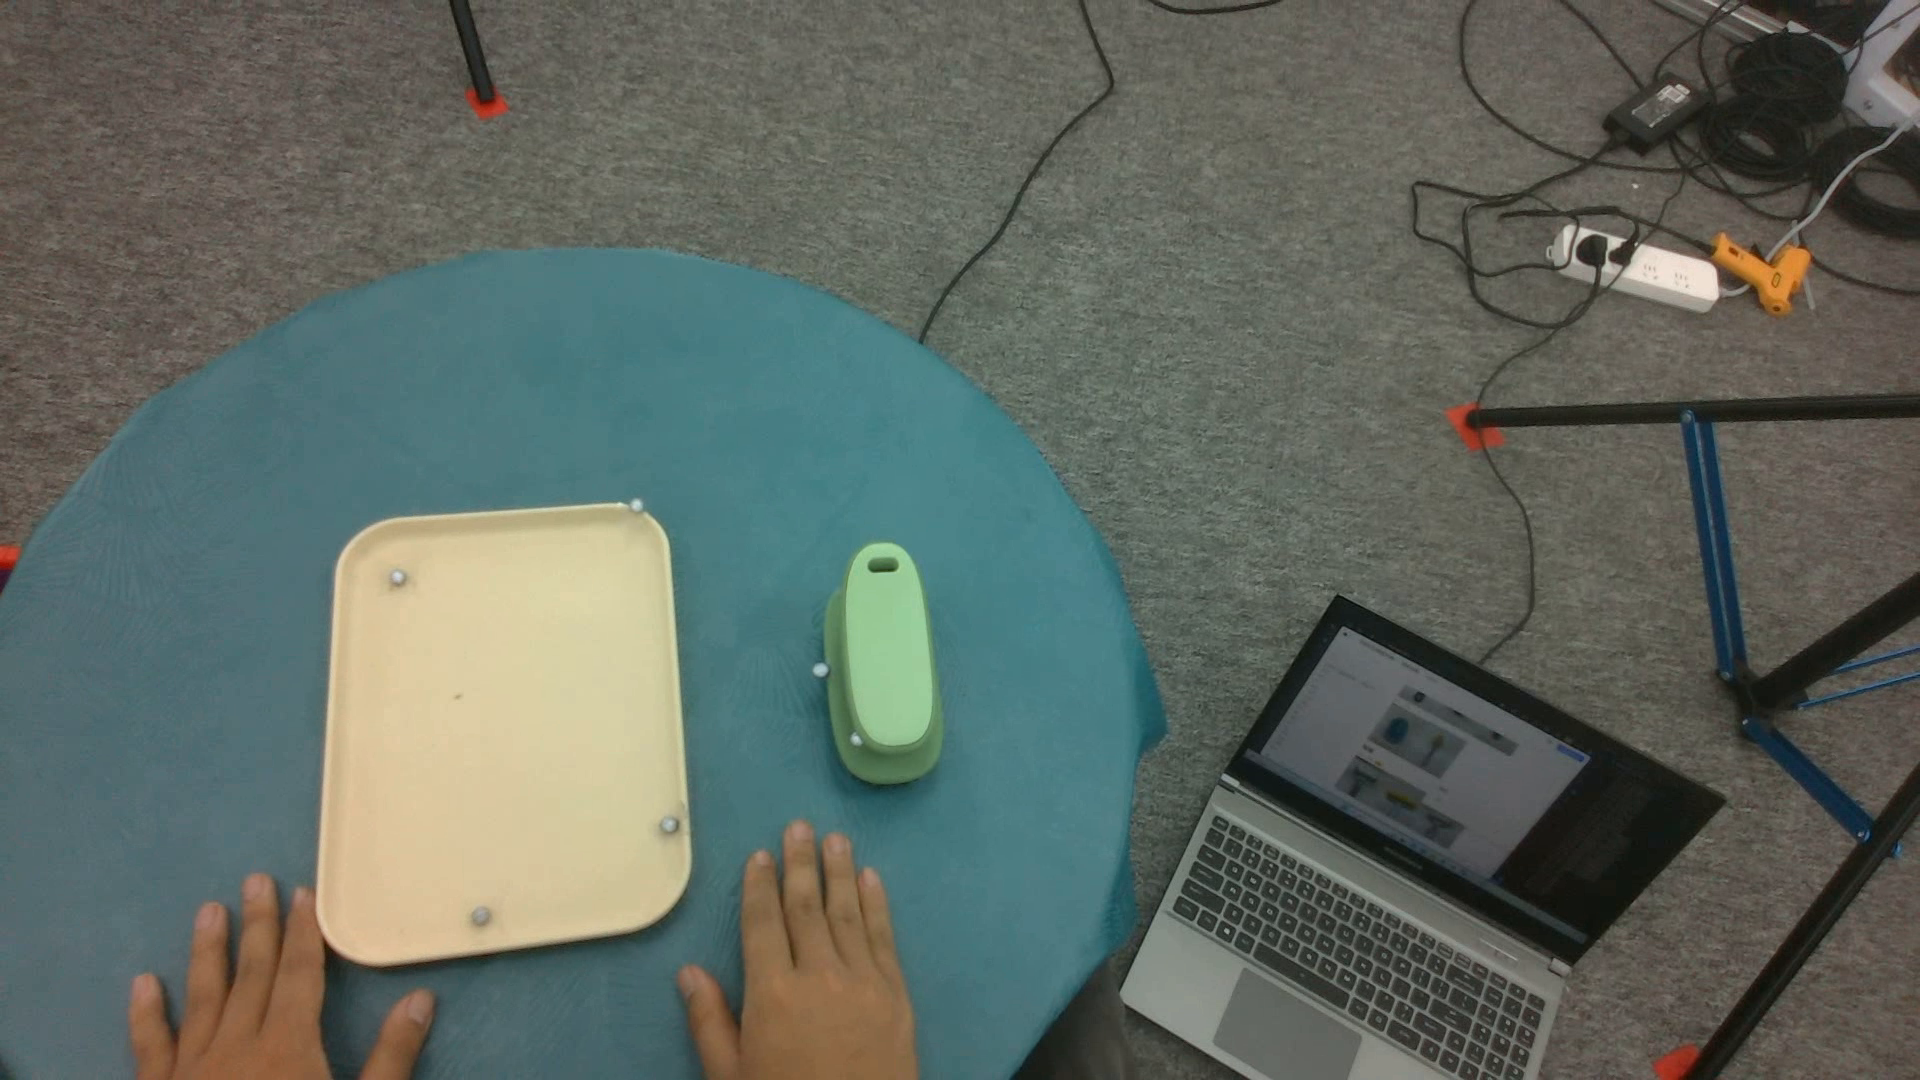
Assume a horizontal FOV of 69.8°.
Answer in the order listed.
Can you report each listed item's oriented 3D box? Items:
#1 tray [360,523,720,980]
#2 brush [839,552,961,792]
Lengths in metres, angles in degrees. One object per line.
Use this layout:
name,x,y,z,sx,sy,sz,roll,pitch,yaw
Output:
tray,-0.221,0.101,0.720,0.171,0.017,0.240,-7,60,-11
brush,-0.033,0.074,0.742,0.059,0.075,0.123,-6,73,-10
